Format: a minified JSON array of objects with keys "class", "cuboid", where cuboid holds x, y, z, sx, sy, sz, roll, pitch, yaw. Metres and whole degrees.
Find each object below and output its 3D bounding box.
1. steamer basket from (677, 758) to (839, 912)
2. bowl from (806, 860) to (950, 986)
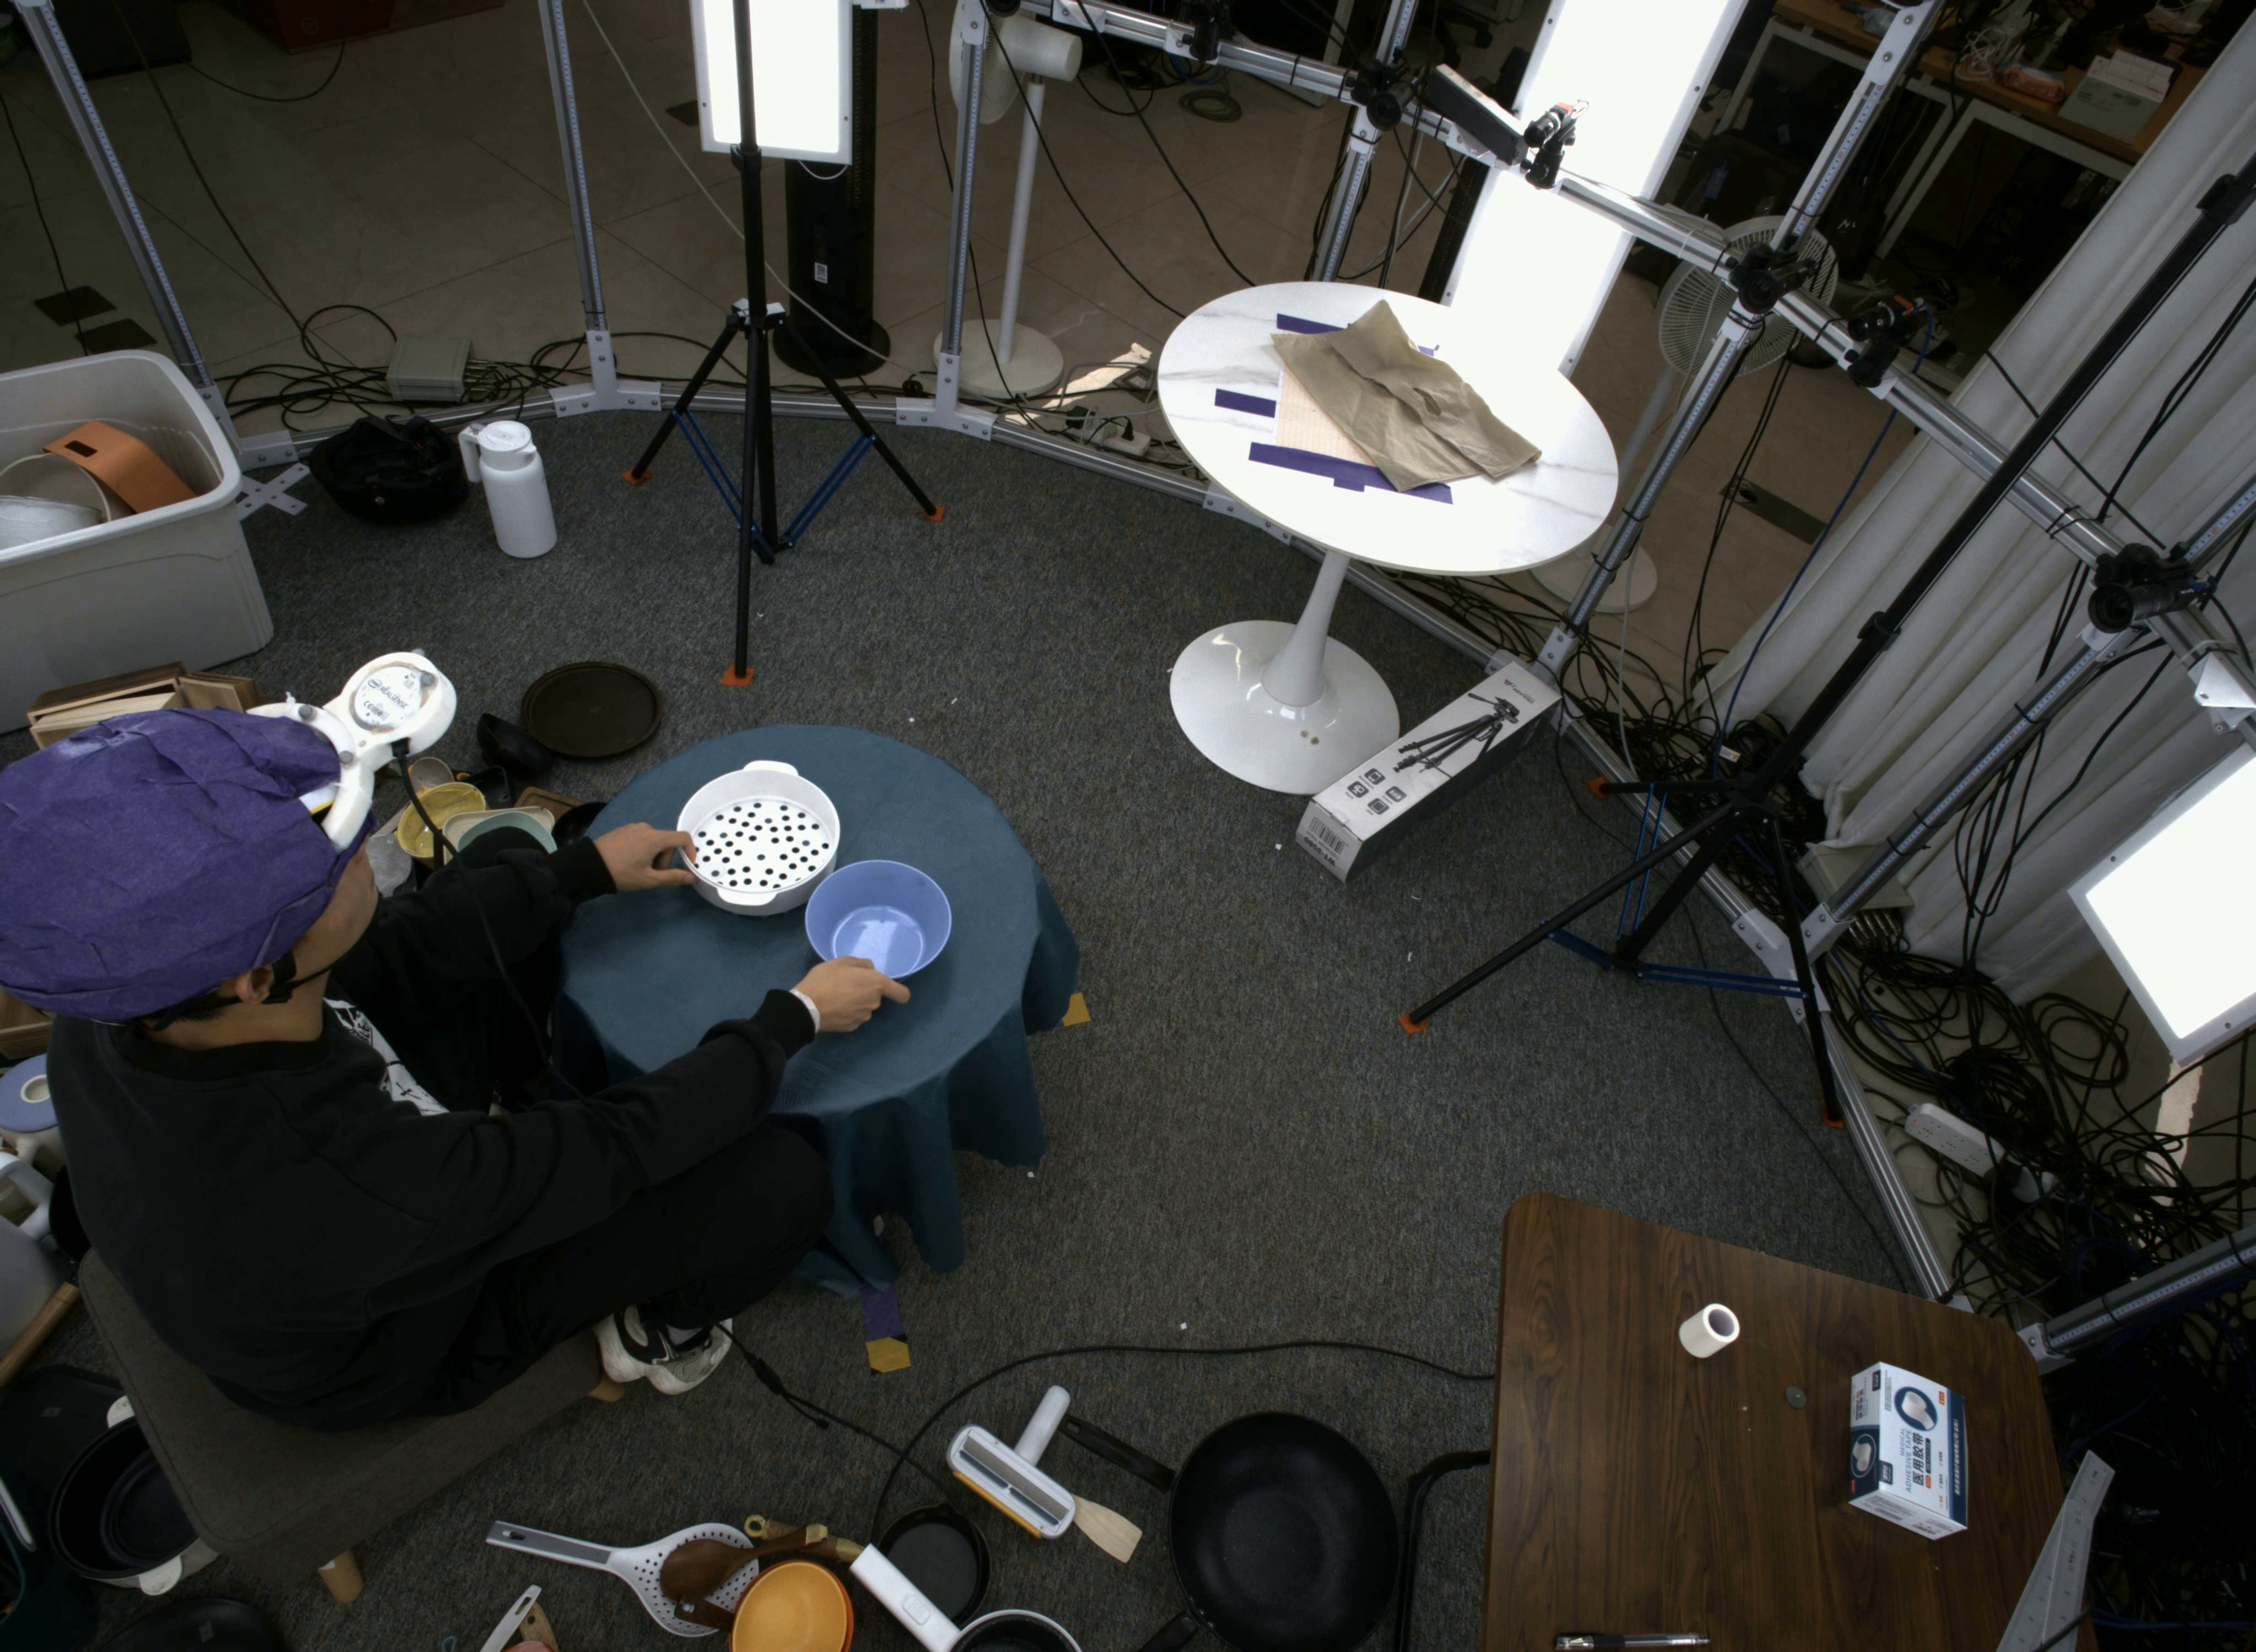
[{"class":"steamer basket","cuboid":[-0.473,0.016,1.660,0.202,0.071,0.226,6,50,-10]},{"class":"bowl","cuboid":[-0.311,0.130,1.615,0.176,0.072,0.173,8,51,-9]}]
